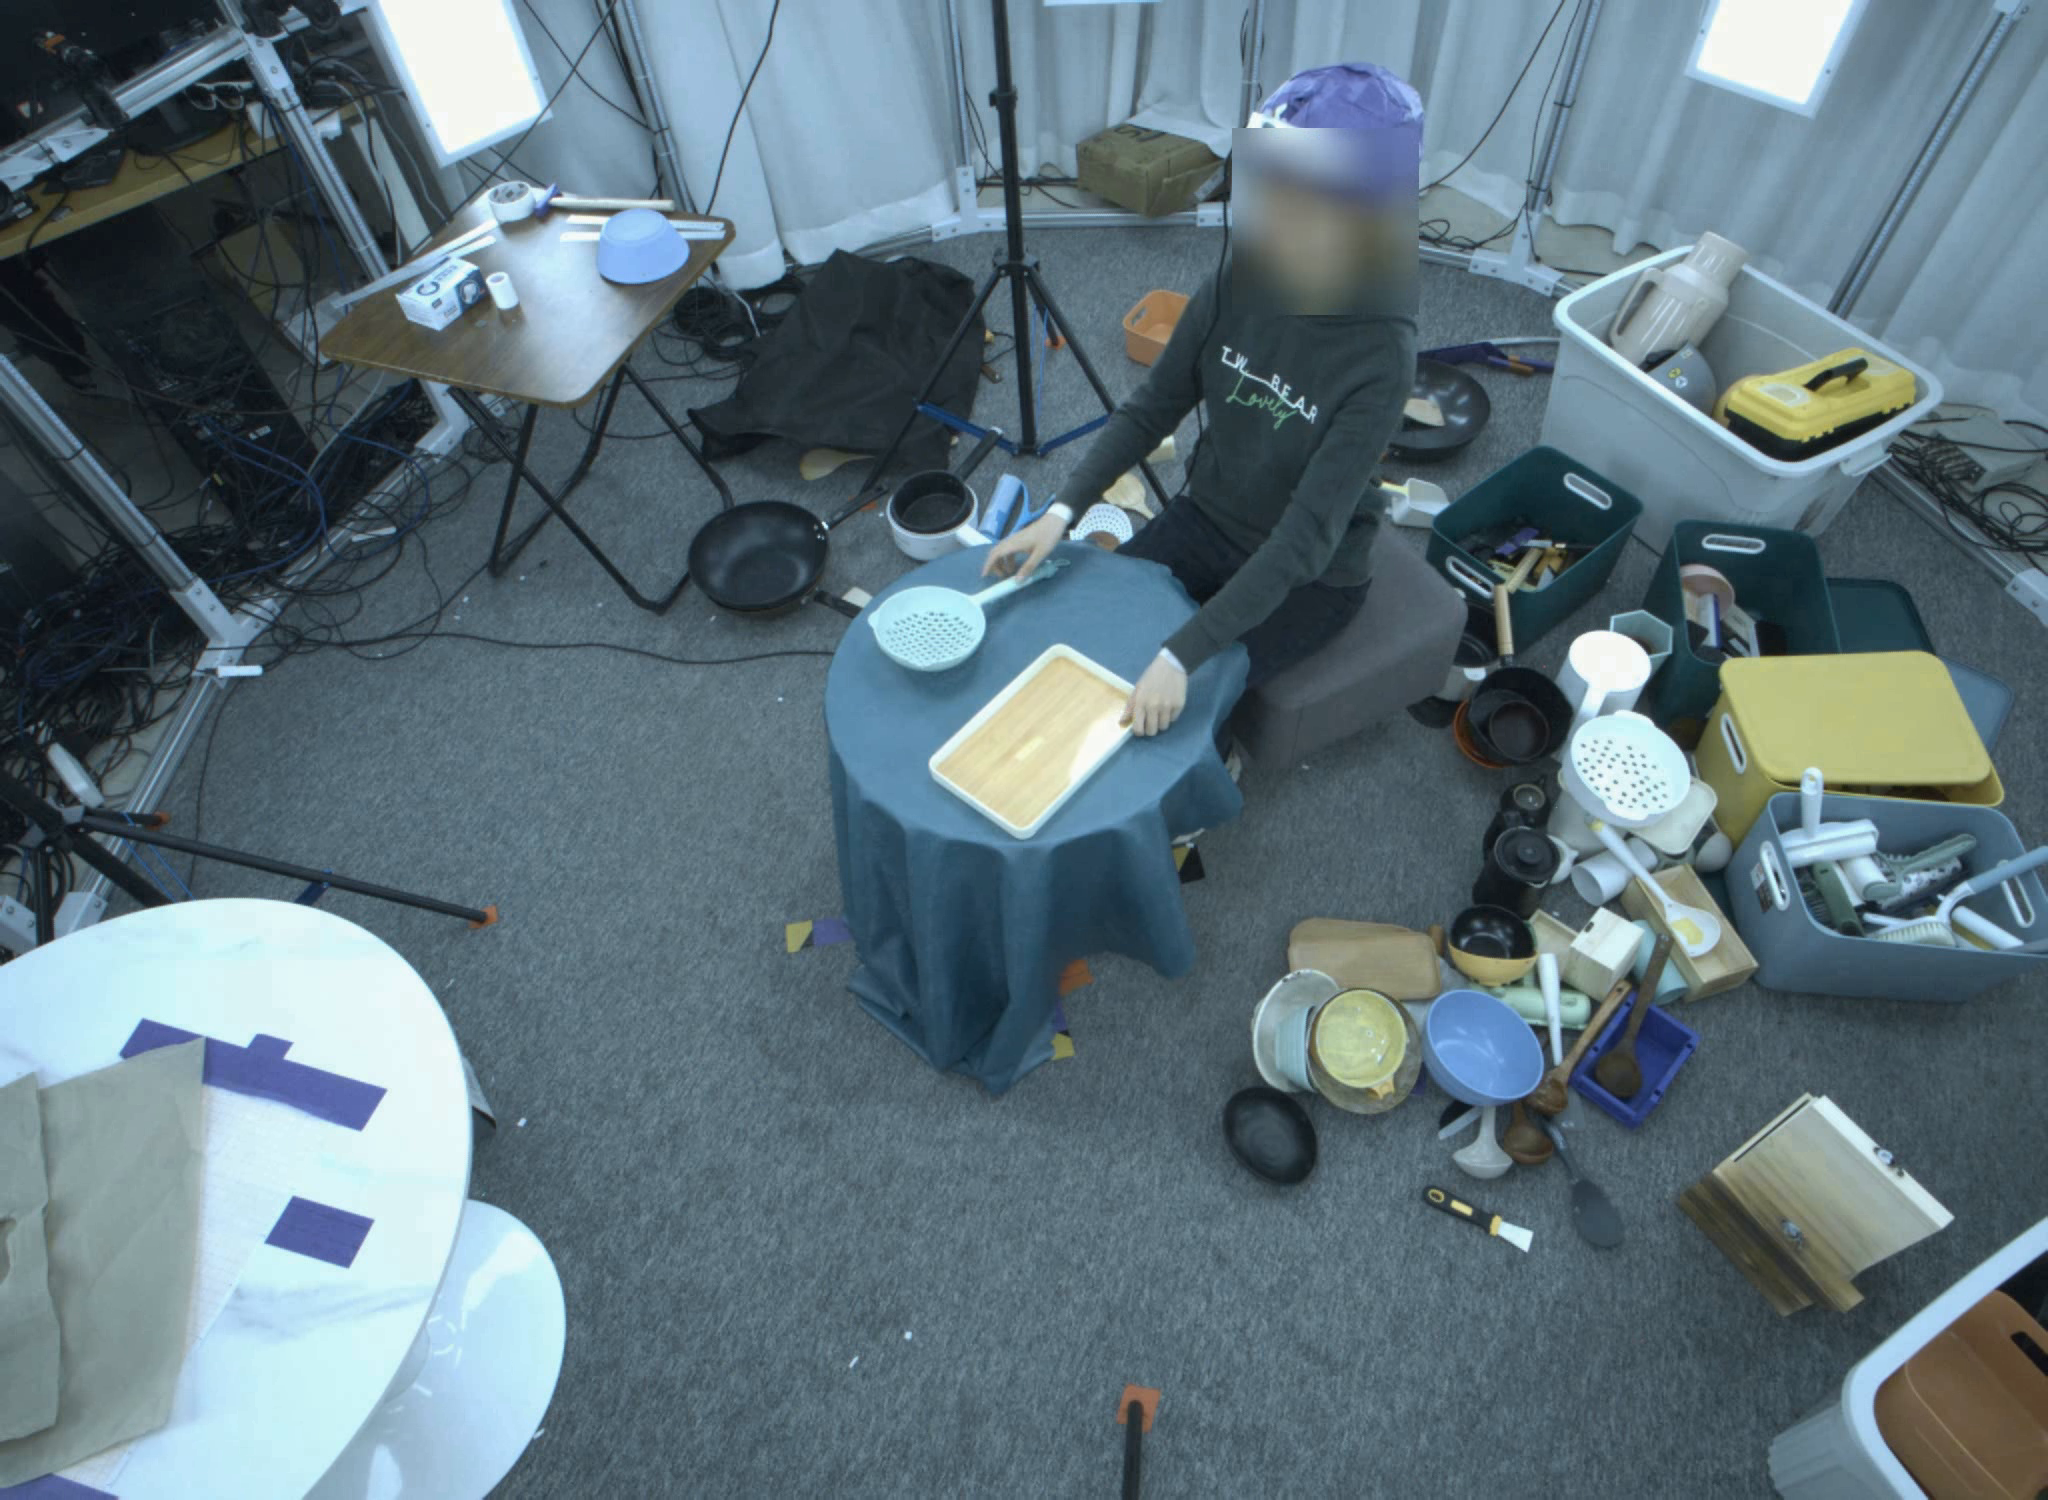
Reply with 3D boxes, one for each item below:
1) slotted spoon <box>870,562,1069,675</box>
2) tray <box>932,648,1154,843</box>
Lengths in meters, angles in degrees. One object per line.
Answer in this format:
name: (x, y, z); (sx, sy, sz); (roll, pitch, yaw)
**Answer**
slotted spoon: (-0.068, -0.224, 1.918); (0.361, 0.076, 0.166); (-36, 62, -21)
tray: (0.030, -0.013, 1.790); (0.188, 0.028, 0.302); (34, 63, 23)
